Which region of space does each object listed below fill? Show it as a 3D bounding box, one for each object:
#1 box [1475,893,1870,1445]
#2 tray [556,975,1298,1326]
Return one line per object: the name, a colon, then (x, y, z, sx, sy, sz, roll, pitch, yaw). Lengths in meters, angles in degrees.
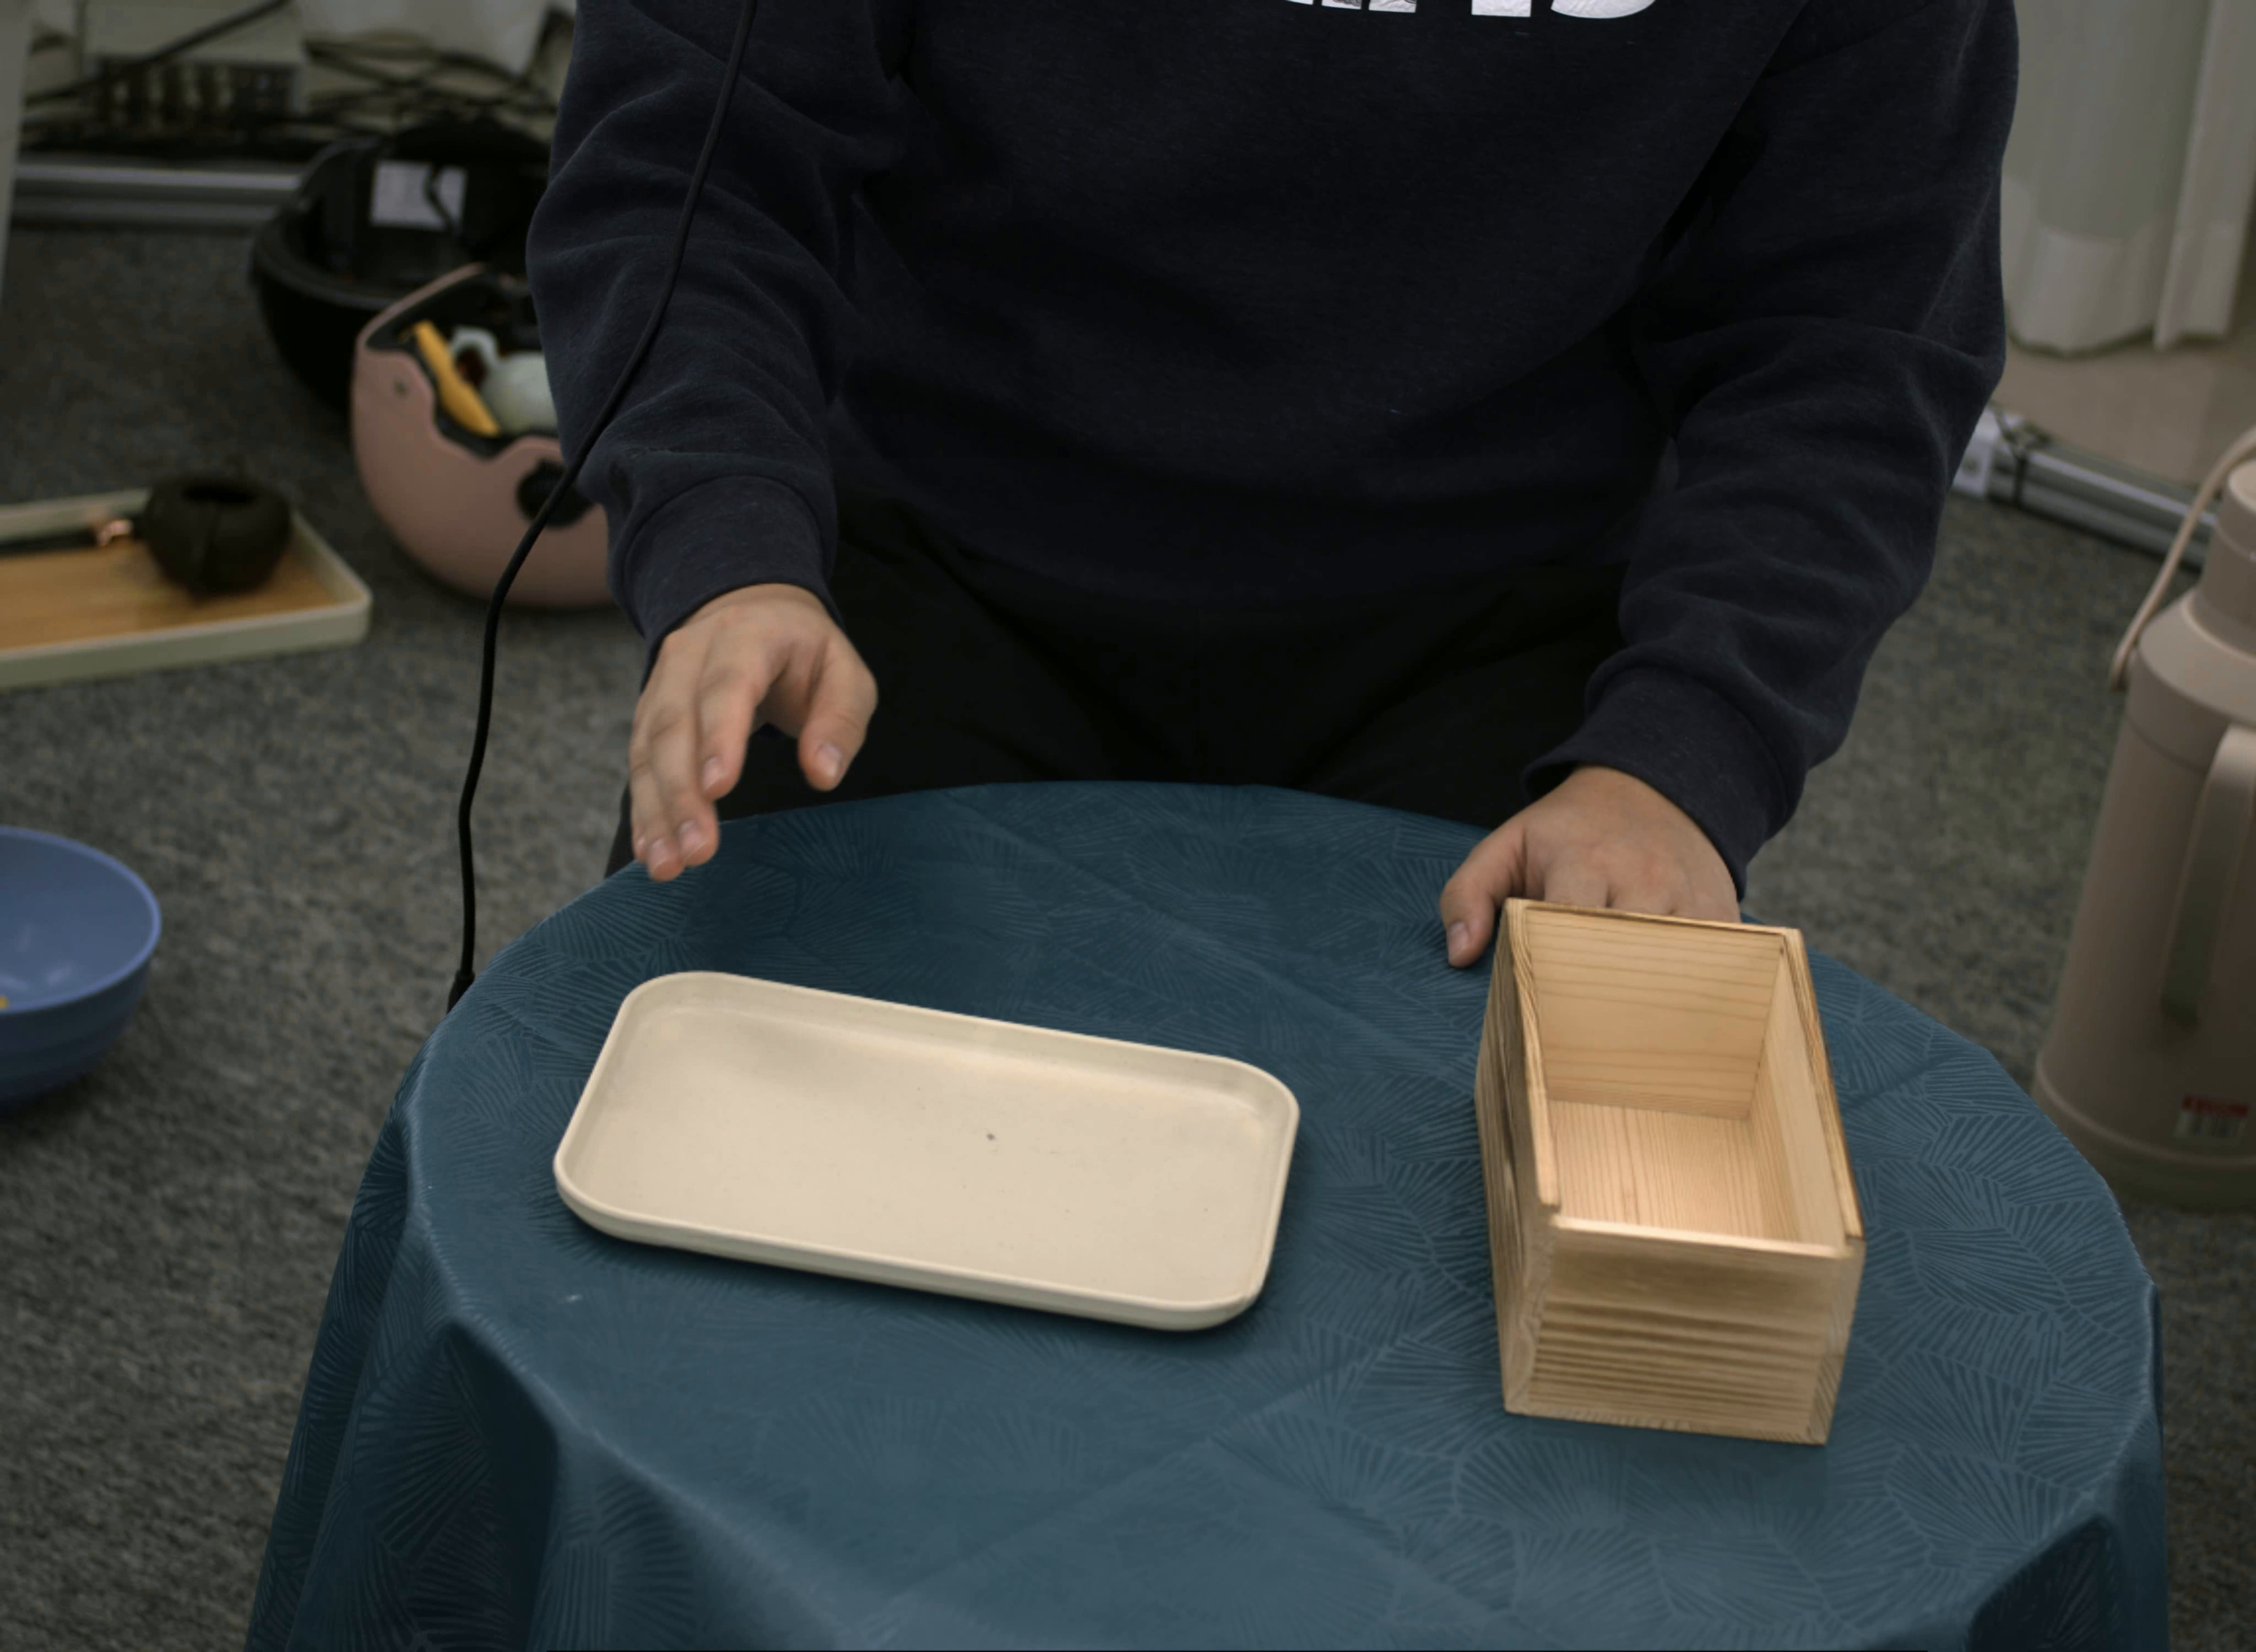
box: (0.179, 0.112, 1.784, 0.107, 0.080, 0.212, 6, 27, -3)
tray: (-0.066, 0.110, 1.798, 0.239, 0.017, 0.172, 9, 26, 4)
